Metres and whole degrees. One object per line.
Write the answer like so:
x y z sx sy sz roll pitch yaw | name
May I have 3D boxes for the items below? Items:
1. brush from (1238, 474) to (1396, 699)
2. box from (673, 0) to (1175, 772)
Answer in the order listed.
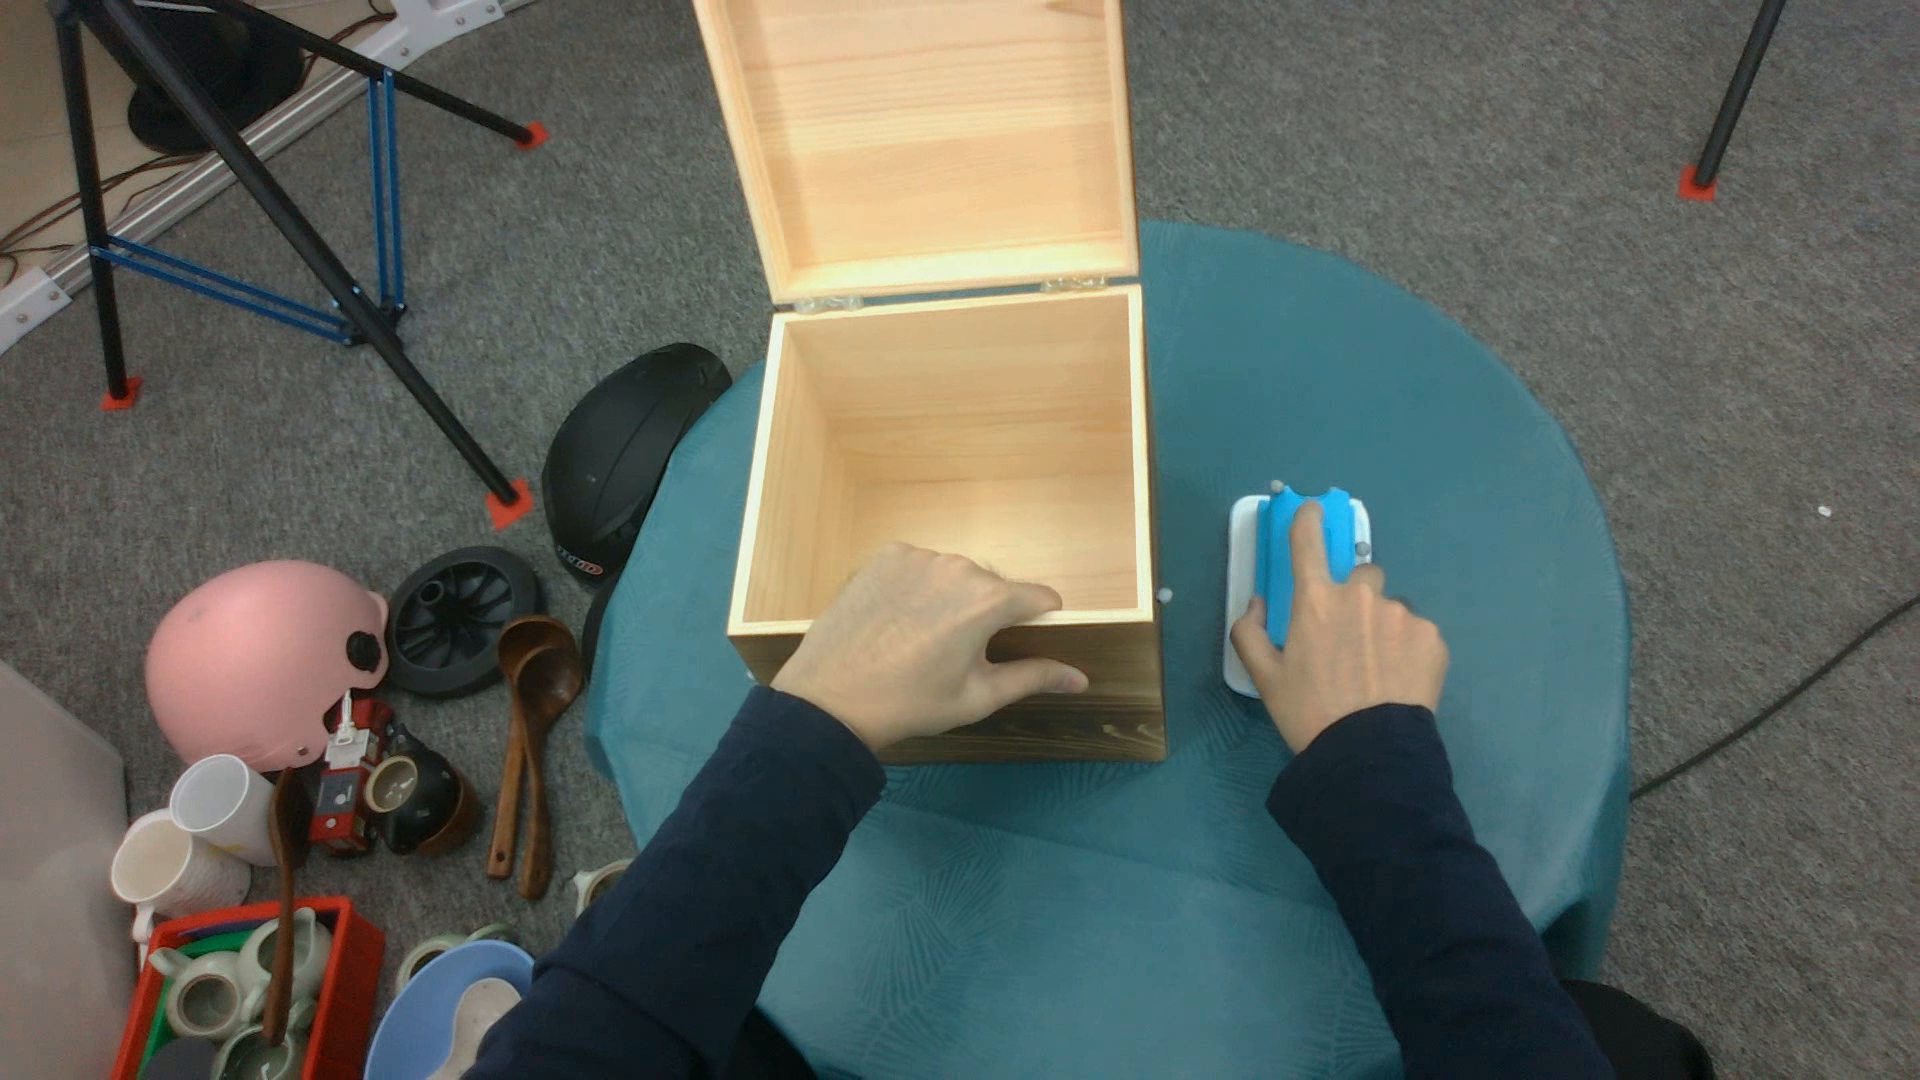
0.197 0.019 0.768 0.084 0.055 0.144 -1 51 13 | brush
-0.011 -0.091 0.714 0.208 0.374 0.323 -4 58 10 | box
